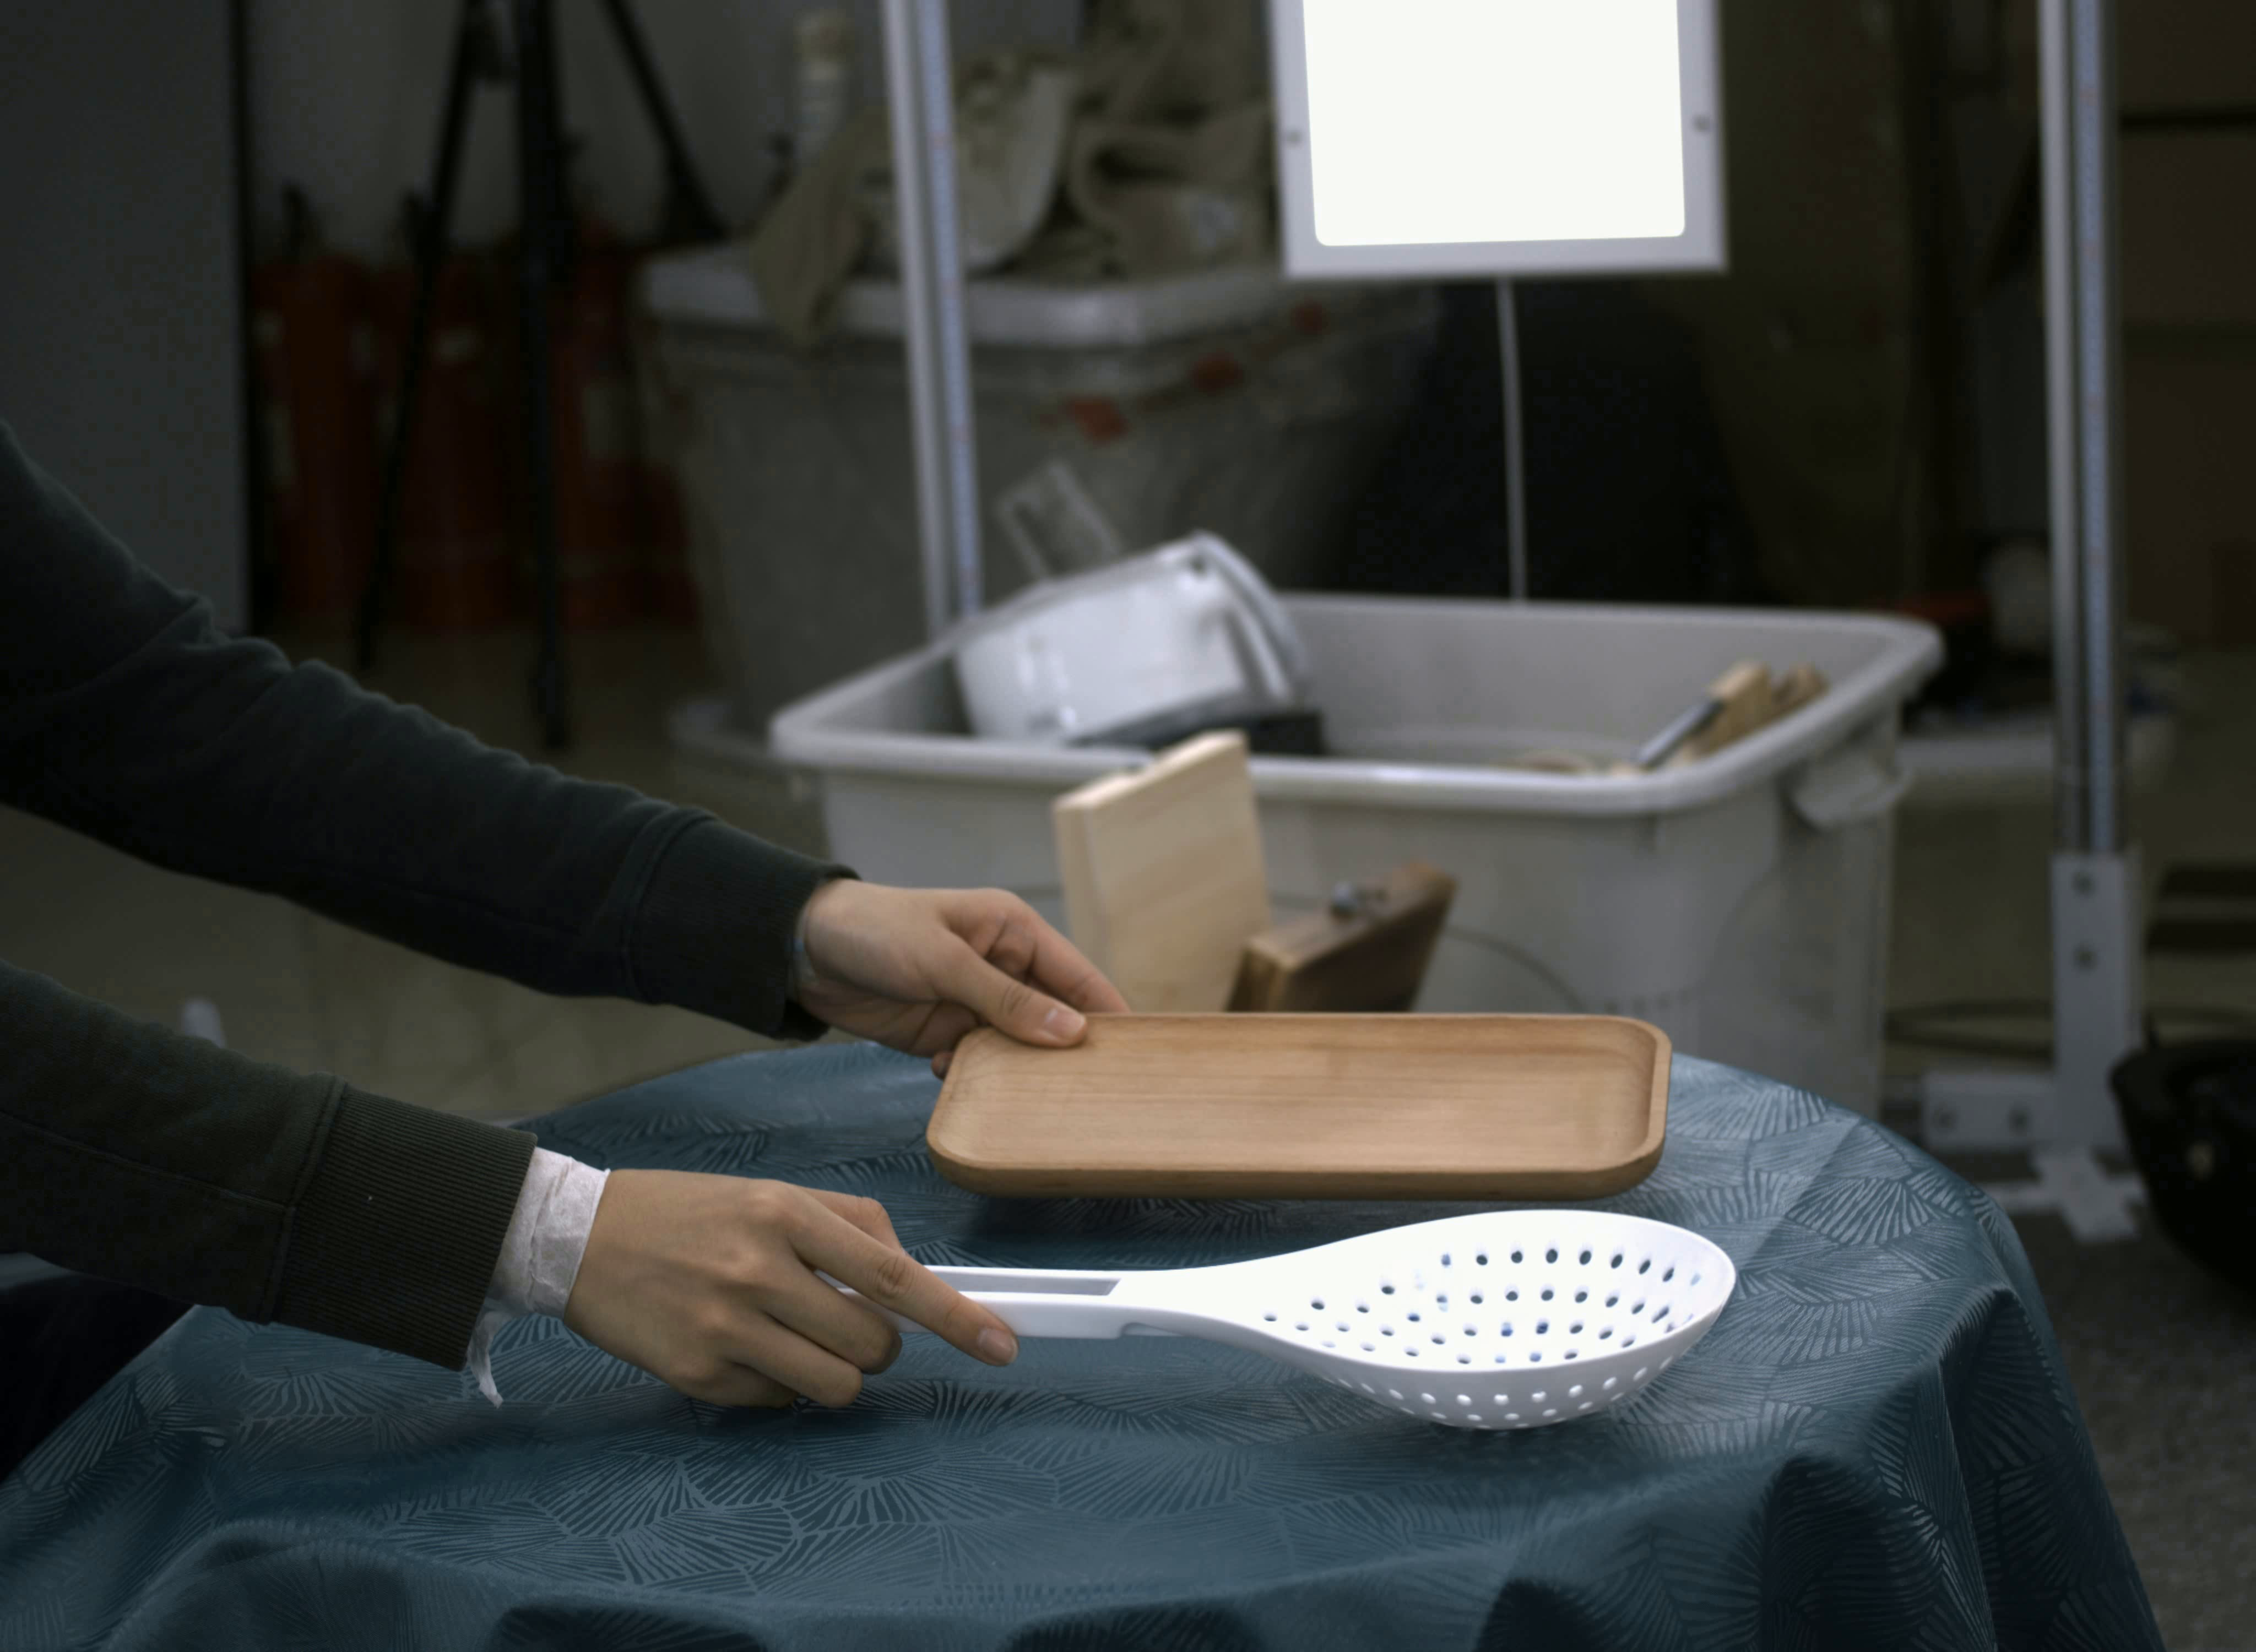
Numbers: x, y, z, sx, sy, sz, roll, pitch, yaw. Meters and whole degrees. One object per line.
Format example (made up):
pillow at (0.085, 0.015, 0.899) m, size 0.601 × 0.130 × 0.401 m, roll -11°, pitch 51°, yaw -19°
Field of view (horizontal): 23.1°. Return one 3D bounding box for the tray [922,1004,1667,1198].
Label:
tray at (0.058, 0.094, 1.881) m, size 0.252 × 0.023 × 0.129 m, roll -1°, pitch 20°, yaw 11°

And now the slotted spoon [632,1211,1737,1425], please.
slotted spoon at (0.012, 0.144, 1.682) m, size 0.354 × 0.046 × 0.134 m, roll 4°, pitch 16°, yaw 19°
